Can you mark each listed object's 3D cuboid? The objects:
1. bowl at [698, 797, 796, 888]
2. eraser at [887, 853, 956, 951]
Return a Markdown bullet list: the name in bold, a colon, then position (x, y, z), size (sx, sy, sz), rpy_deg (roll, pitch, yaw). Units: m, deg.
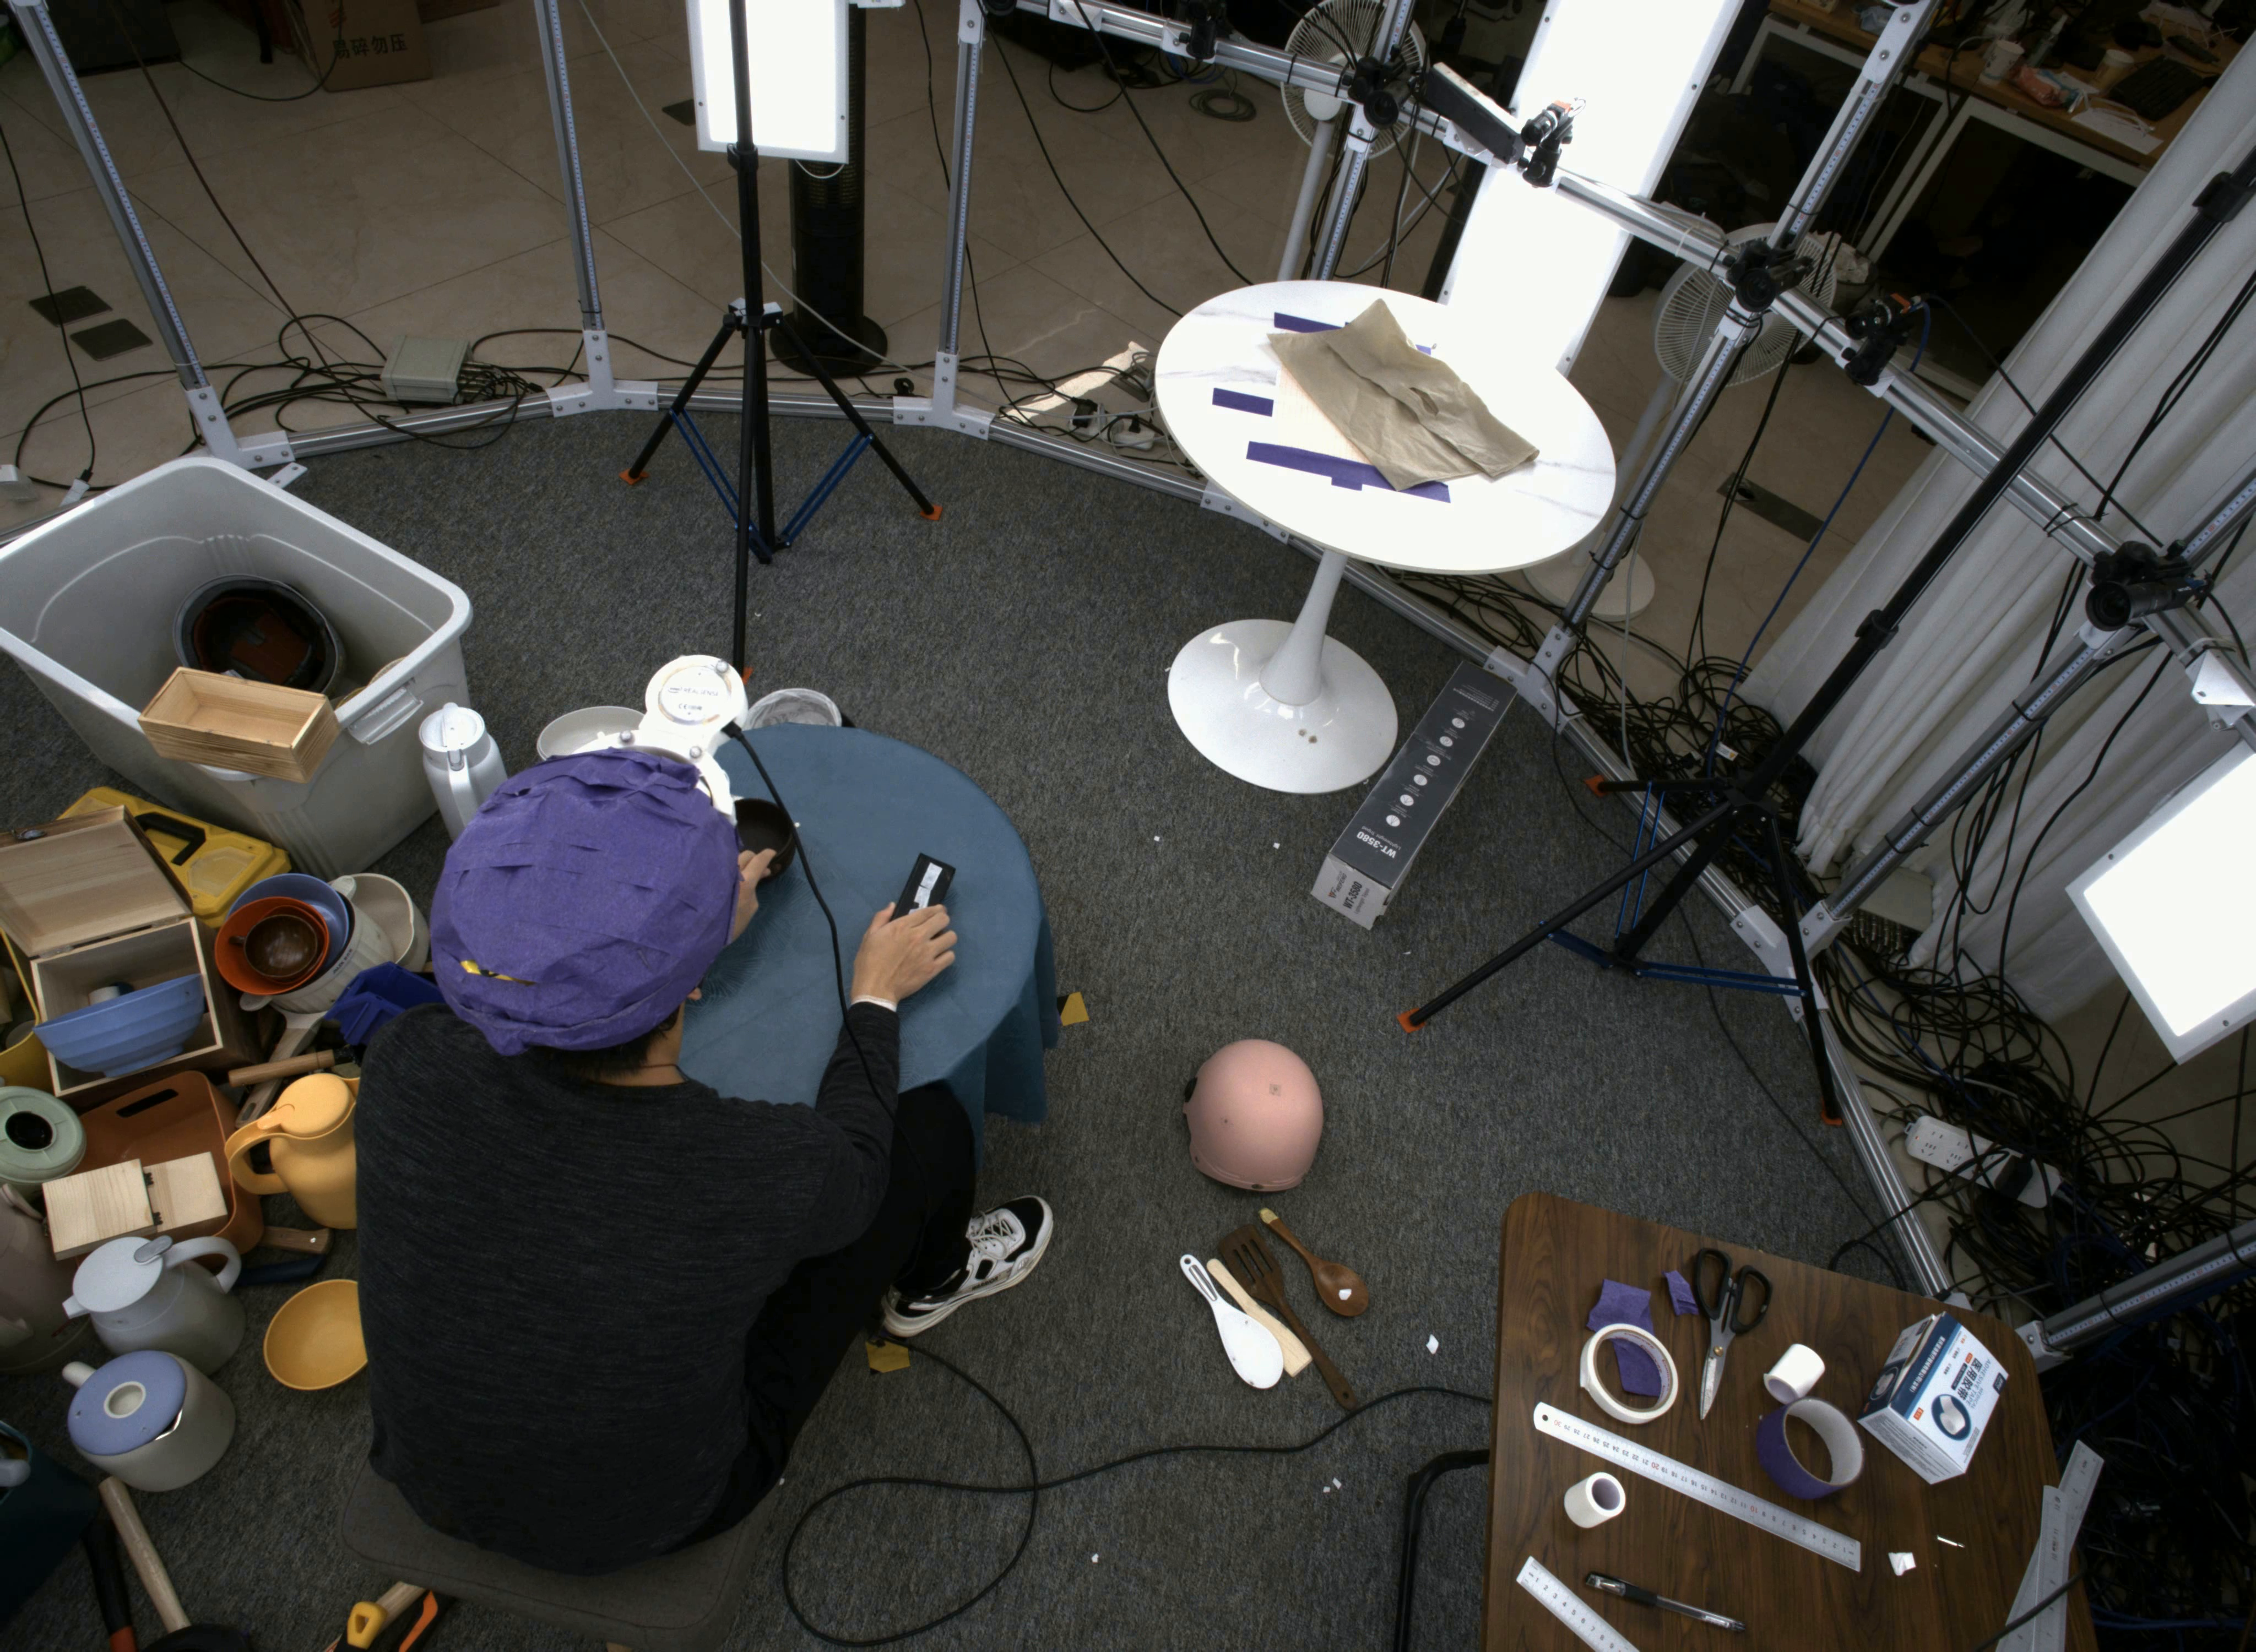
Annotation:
- **bowl**: position (-0.478, 0.028, 1.634), size (0.117, 0.072, 0.116), rpy_deg (4, 51, -4)
- **eraser**: position (-0.262, 0.093, 1.648), size (0.053, 0.031, 0.124), rpy_deg (20, 55, -7)
